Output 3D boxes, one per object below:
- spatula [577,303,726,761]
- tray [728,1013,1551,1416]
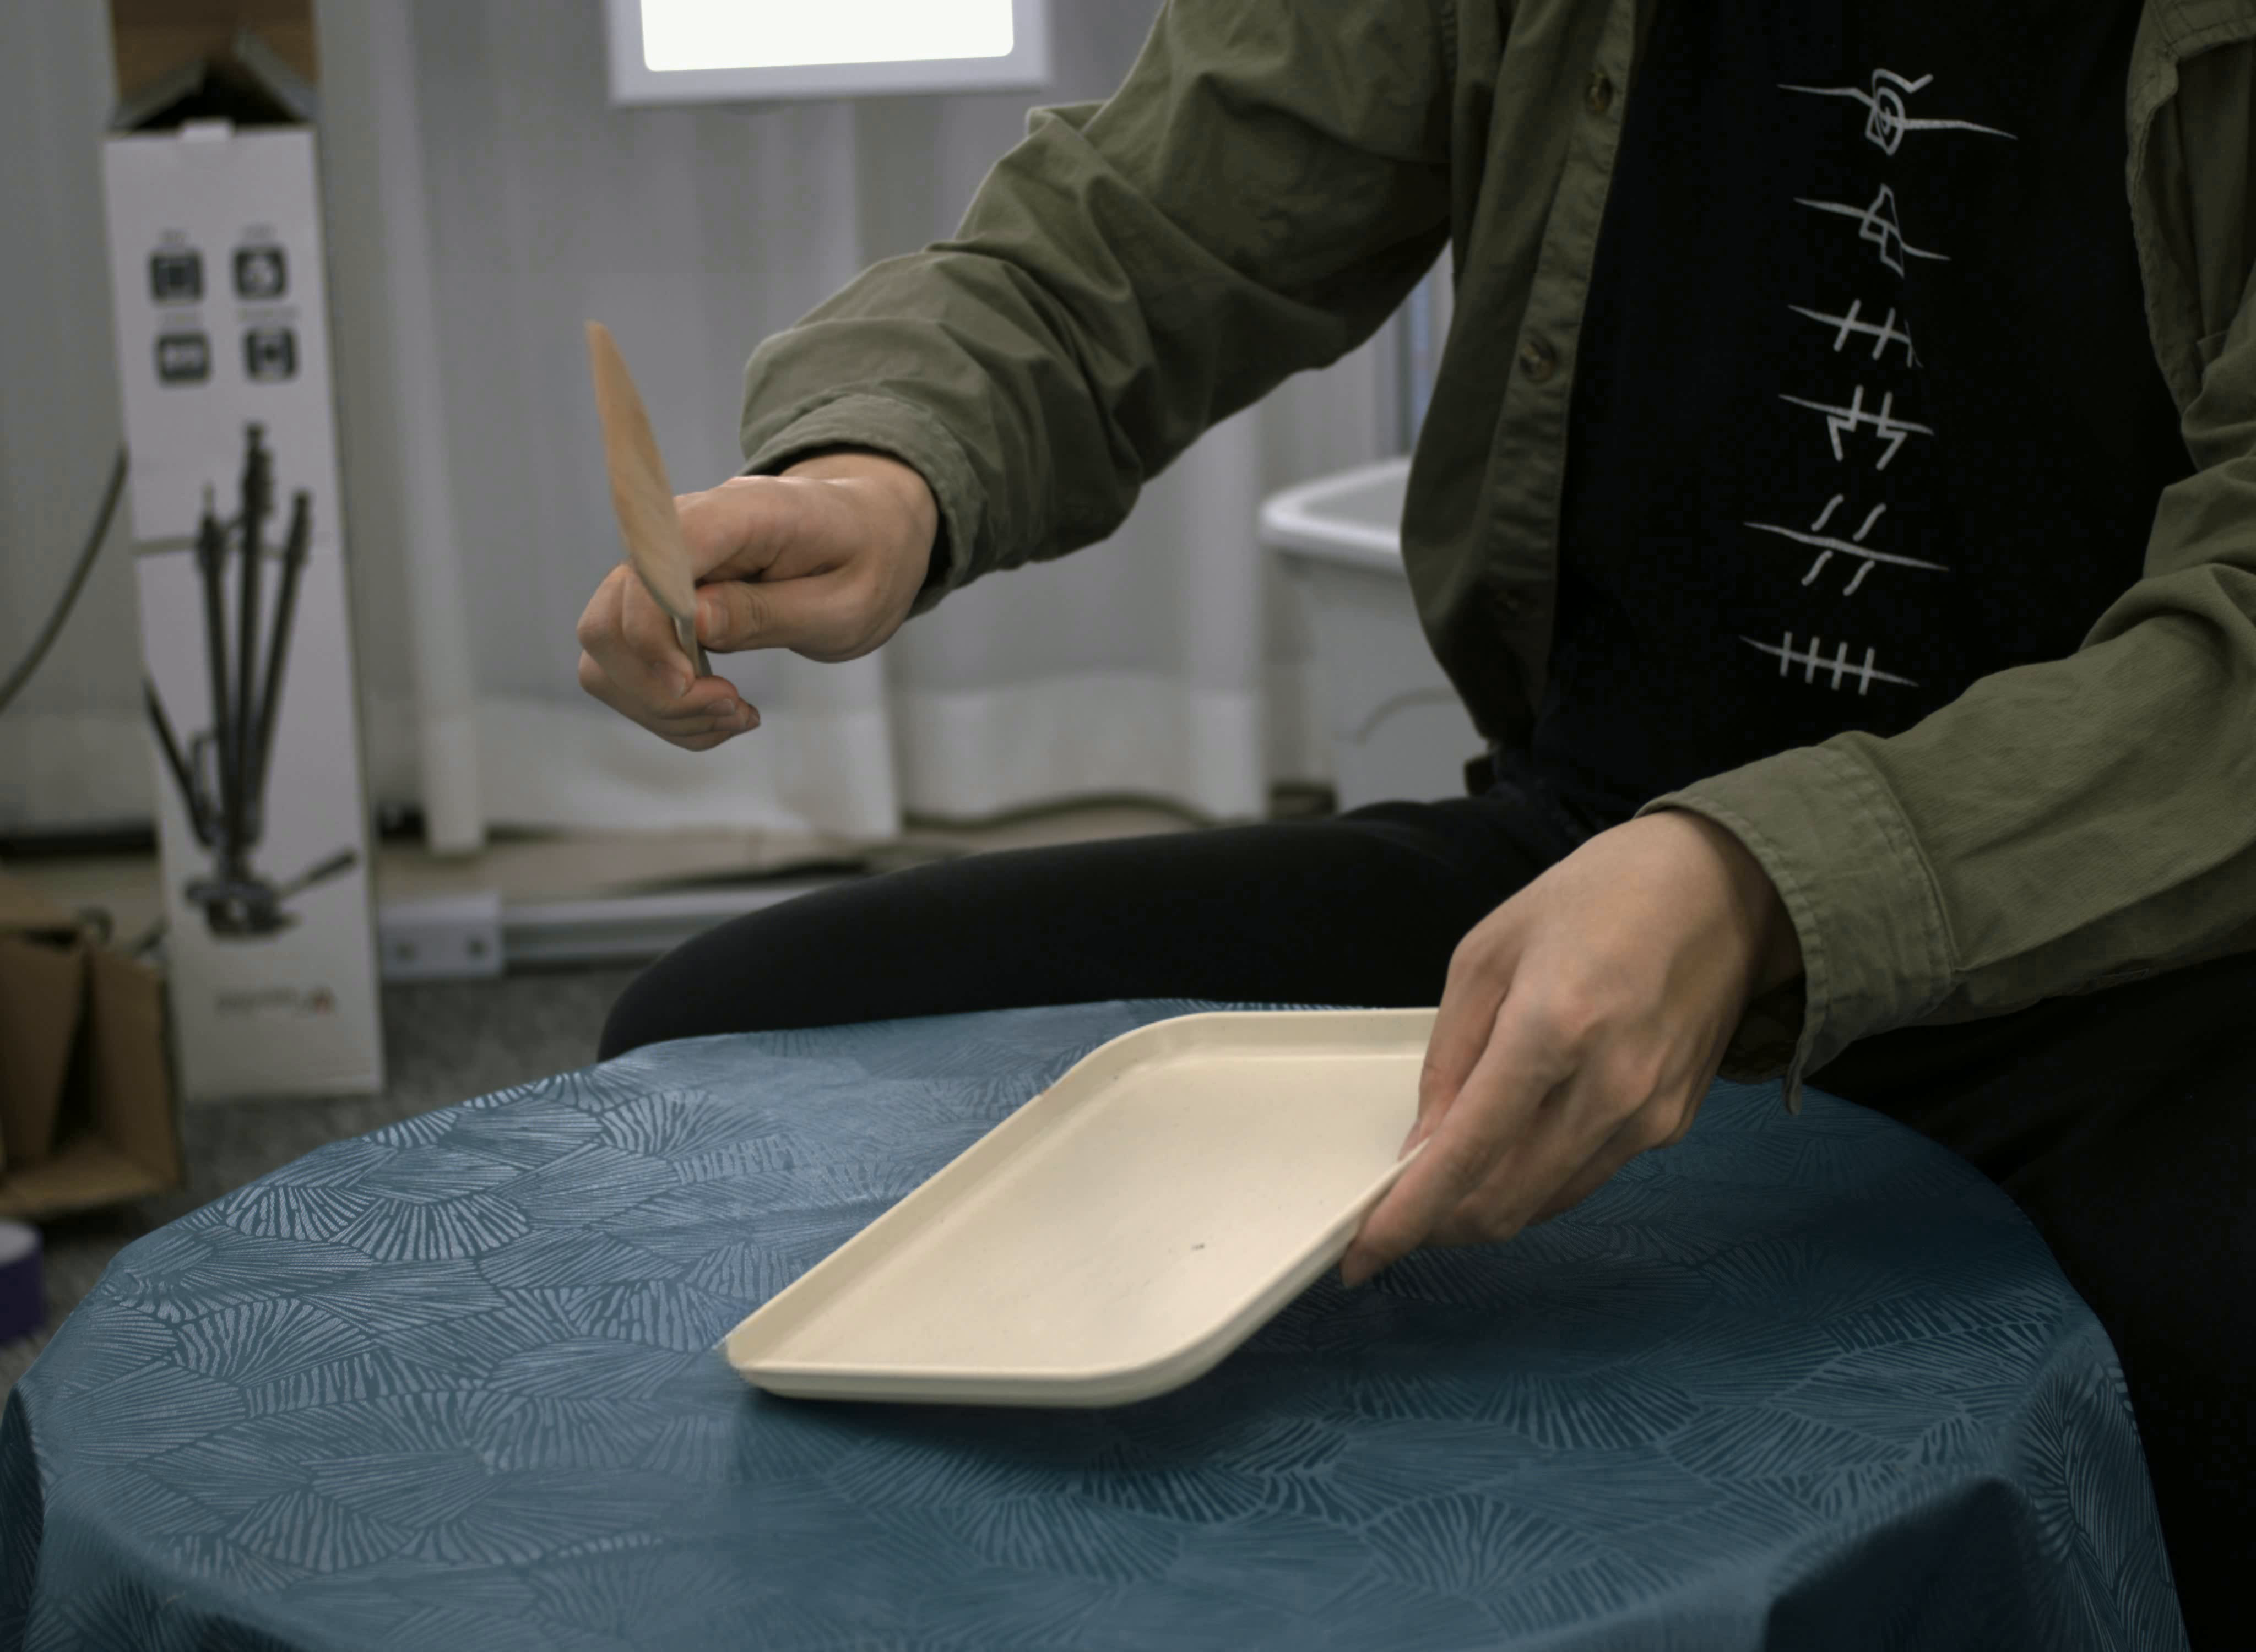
[{"bbox_3d":[-0.140,-0.072,1.650,0.016,0.081,0.325,-12,-14,-4],"label":"spatula"},{"bbox_3d":[0.007,0.112,1.596,0.171,0.017,0.240,-2,22,37],"label":"tray"}]
